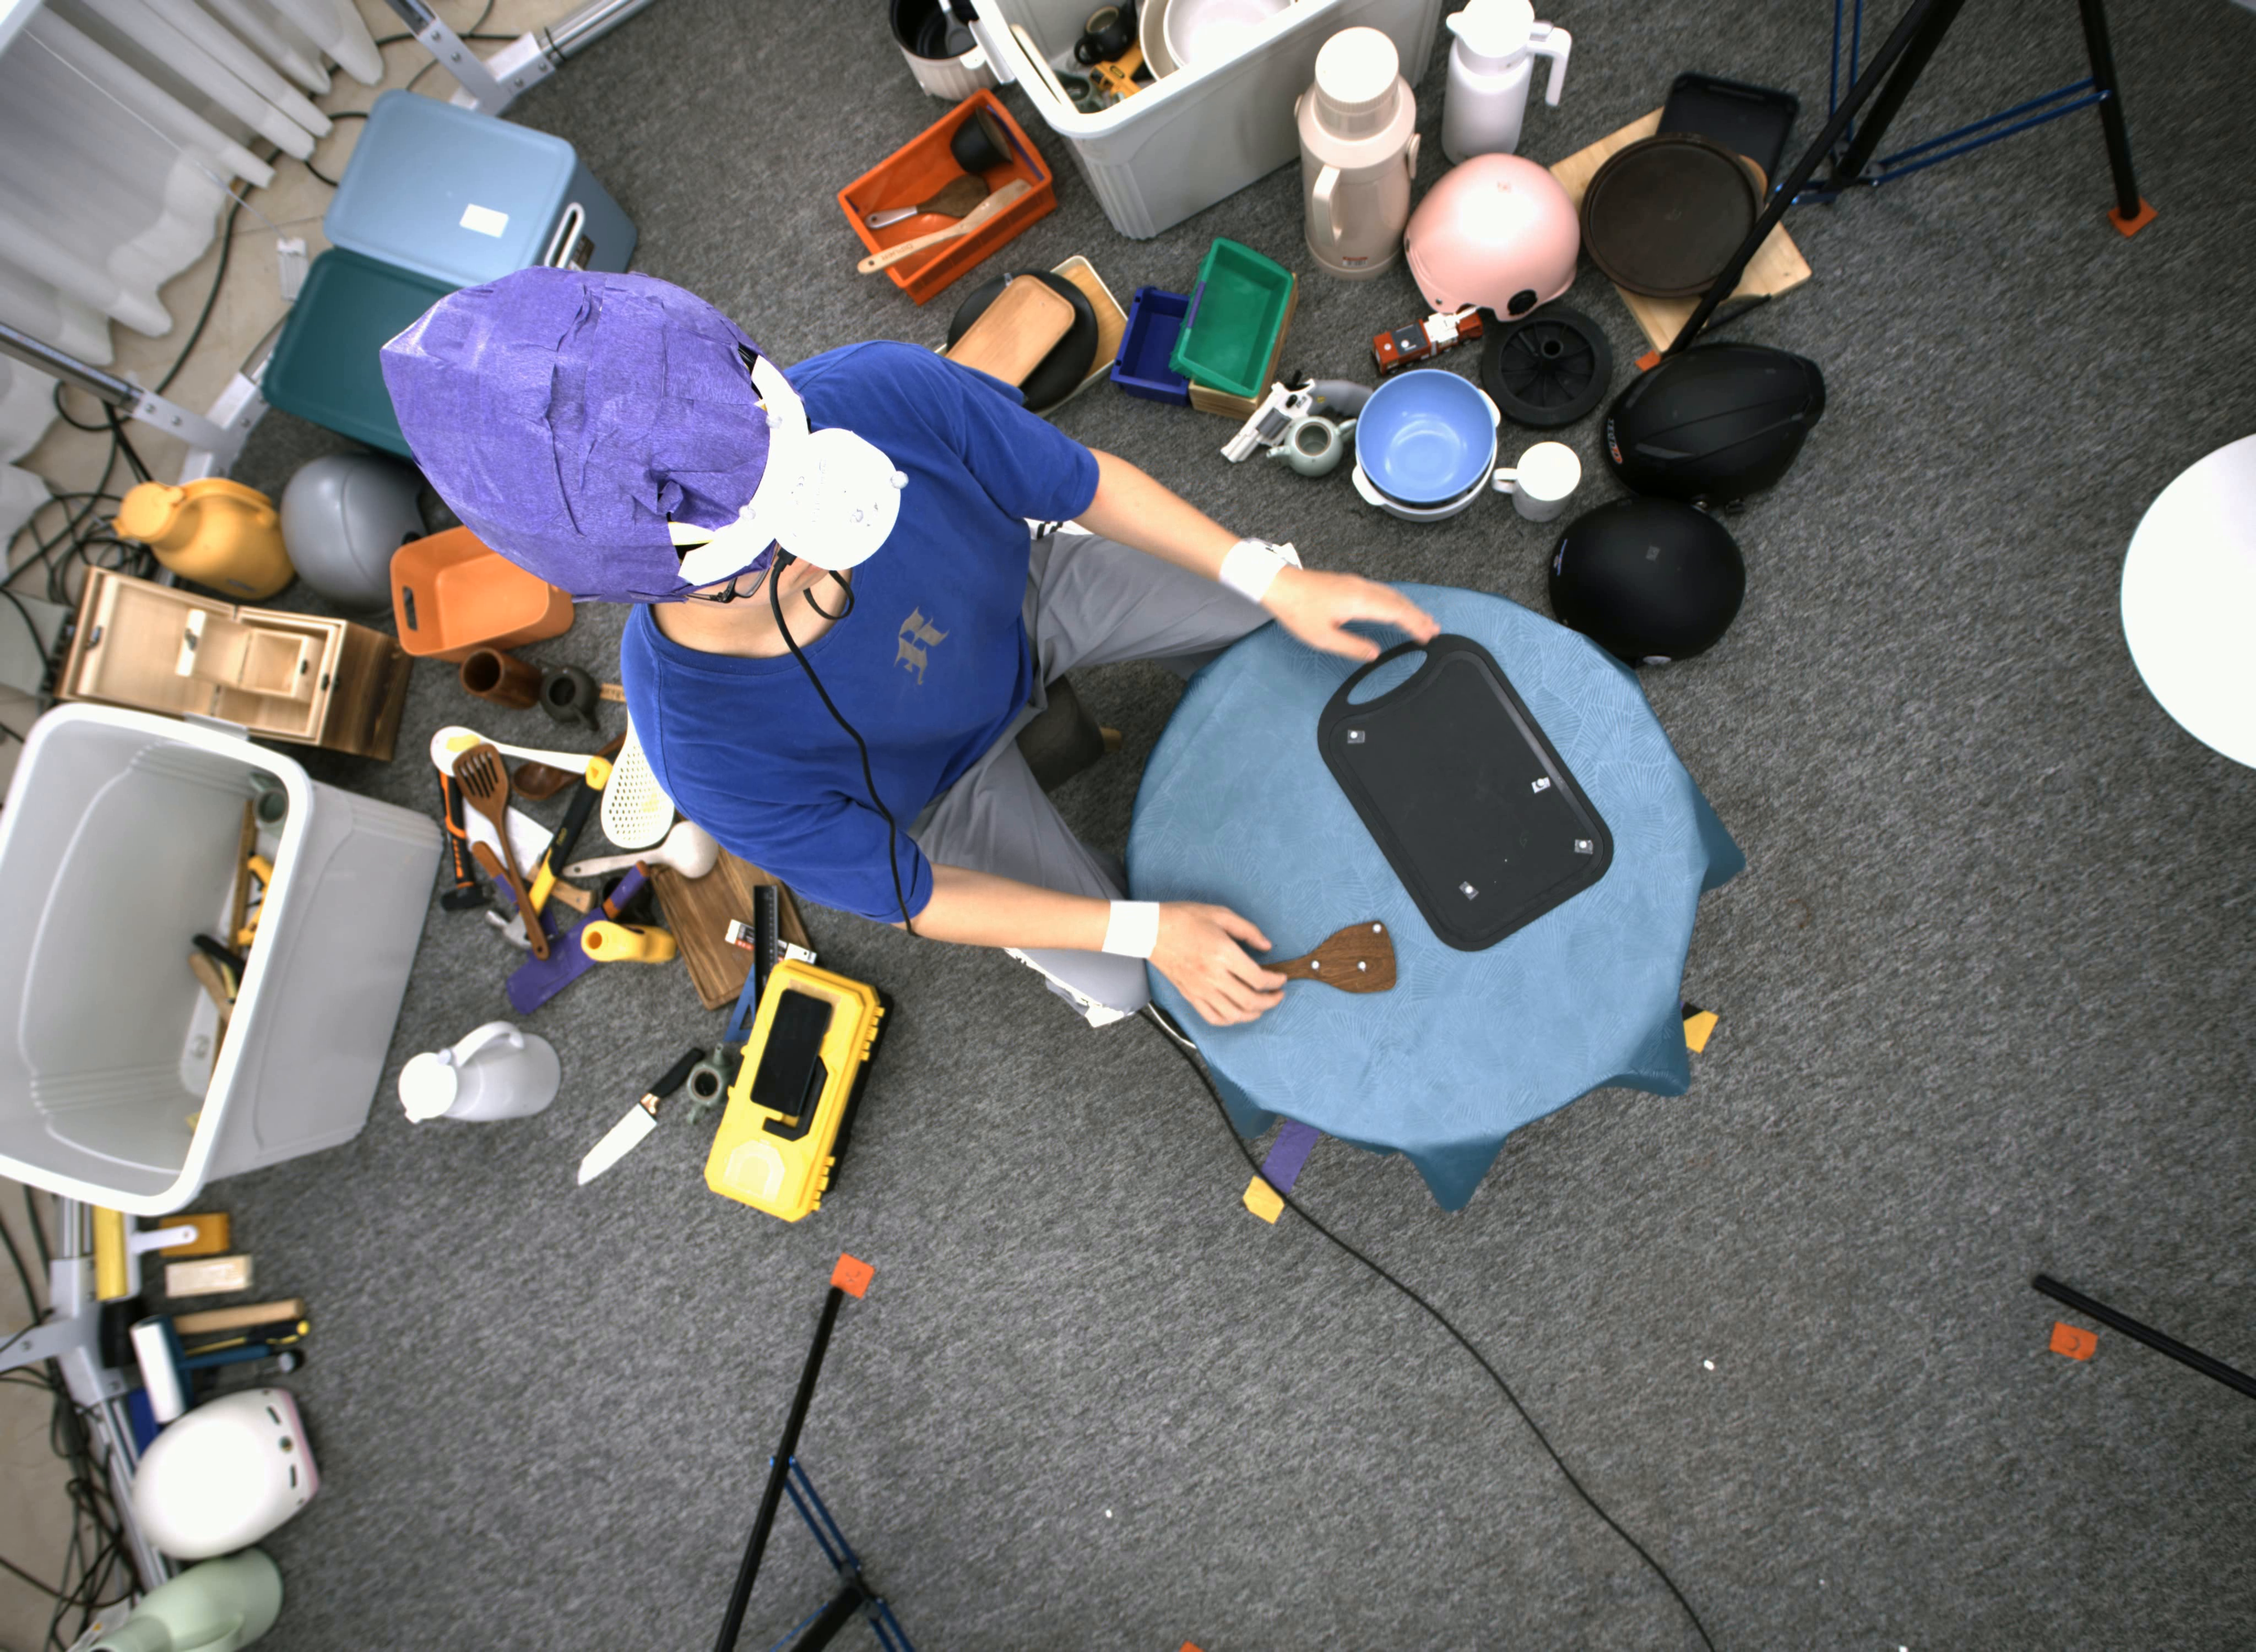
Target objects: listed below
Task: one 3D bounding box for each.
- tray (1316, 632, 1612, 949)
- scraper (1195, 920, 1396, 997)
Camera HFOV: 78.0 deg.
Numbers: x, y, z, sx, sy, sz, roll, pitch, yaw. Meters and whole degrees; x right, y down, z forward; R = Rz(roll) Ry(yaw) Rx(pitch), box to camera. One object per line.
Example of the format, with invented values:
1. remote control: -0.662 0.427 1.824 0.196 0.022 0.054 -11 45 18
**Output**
1. tray: 0.346 -0.047 1.446 0.212 0.010 0.323 -32 82 7
2. scraper: 0.175 0.151 1.467 0.212 0.011 0.075 -10 84 11
